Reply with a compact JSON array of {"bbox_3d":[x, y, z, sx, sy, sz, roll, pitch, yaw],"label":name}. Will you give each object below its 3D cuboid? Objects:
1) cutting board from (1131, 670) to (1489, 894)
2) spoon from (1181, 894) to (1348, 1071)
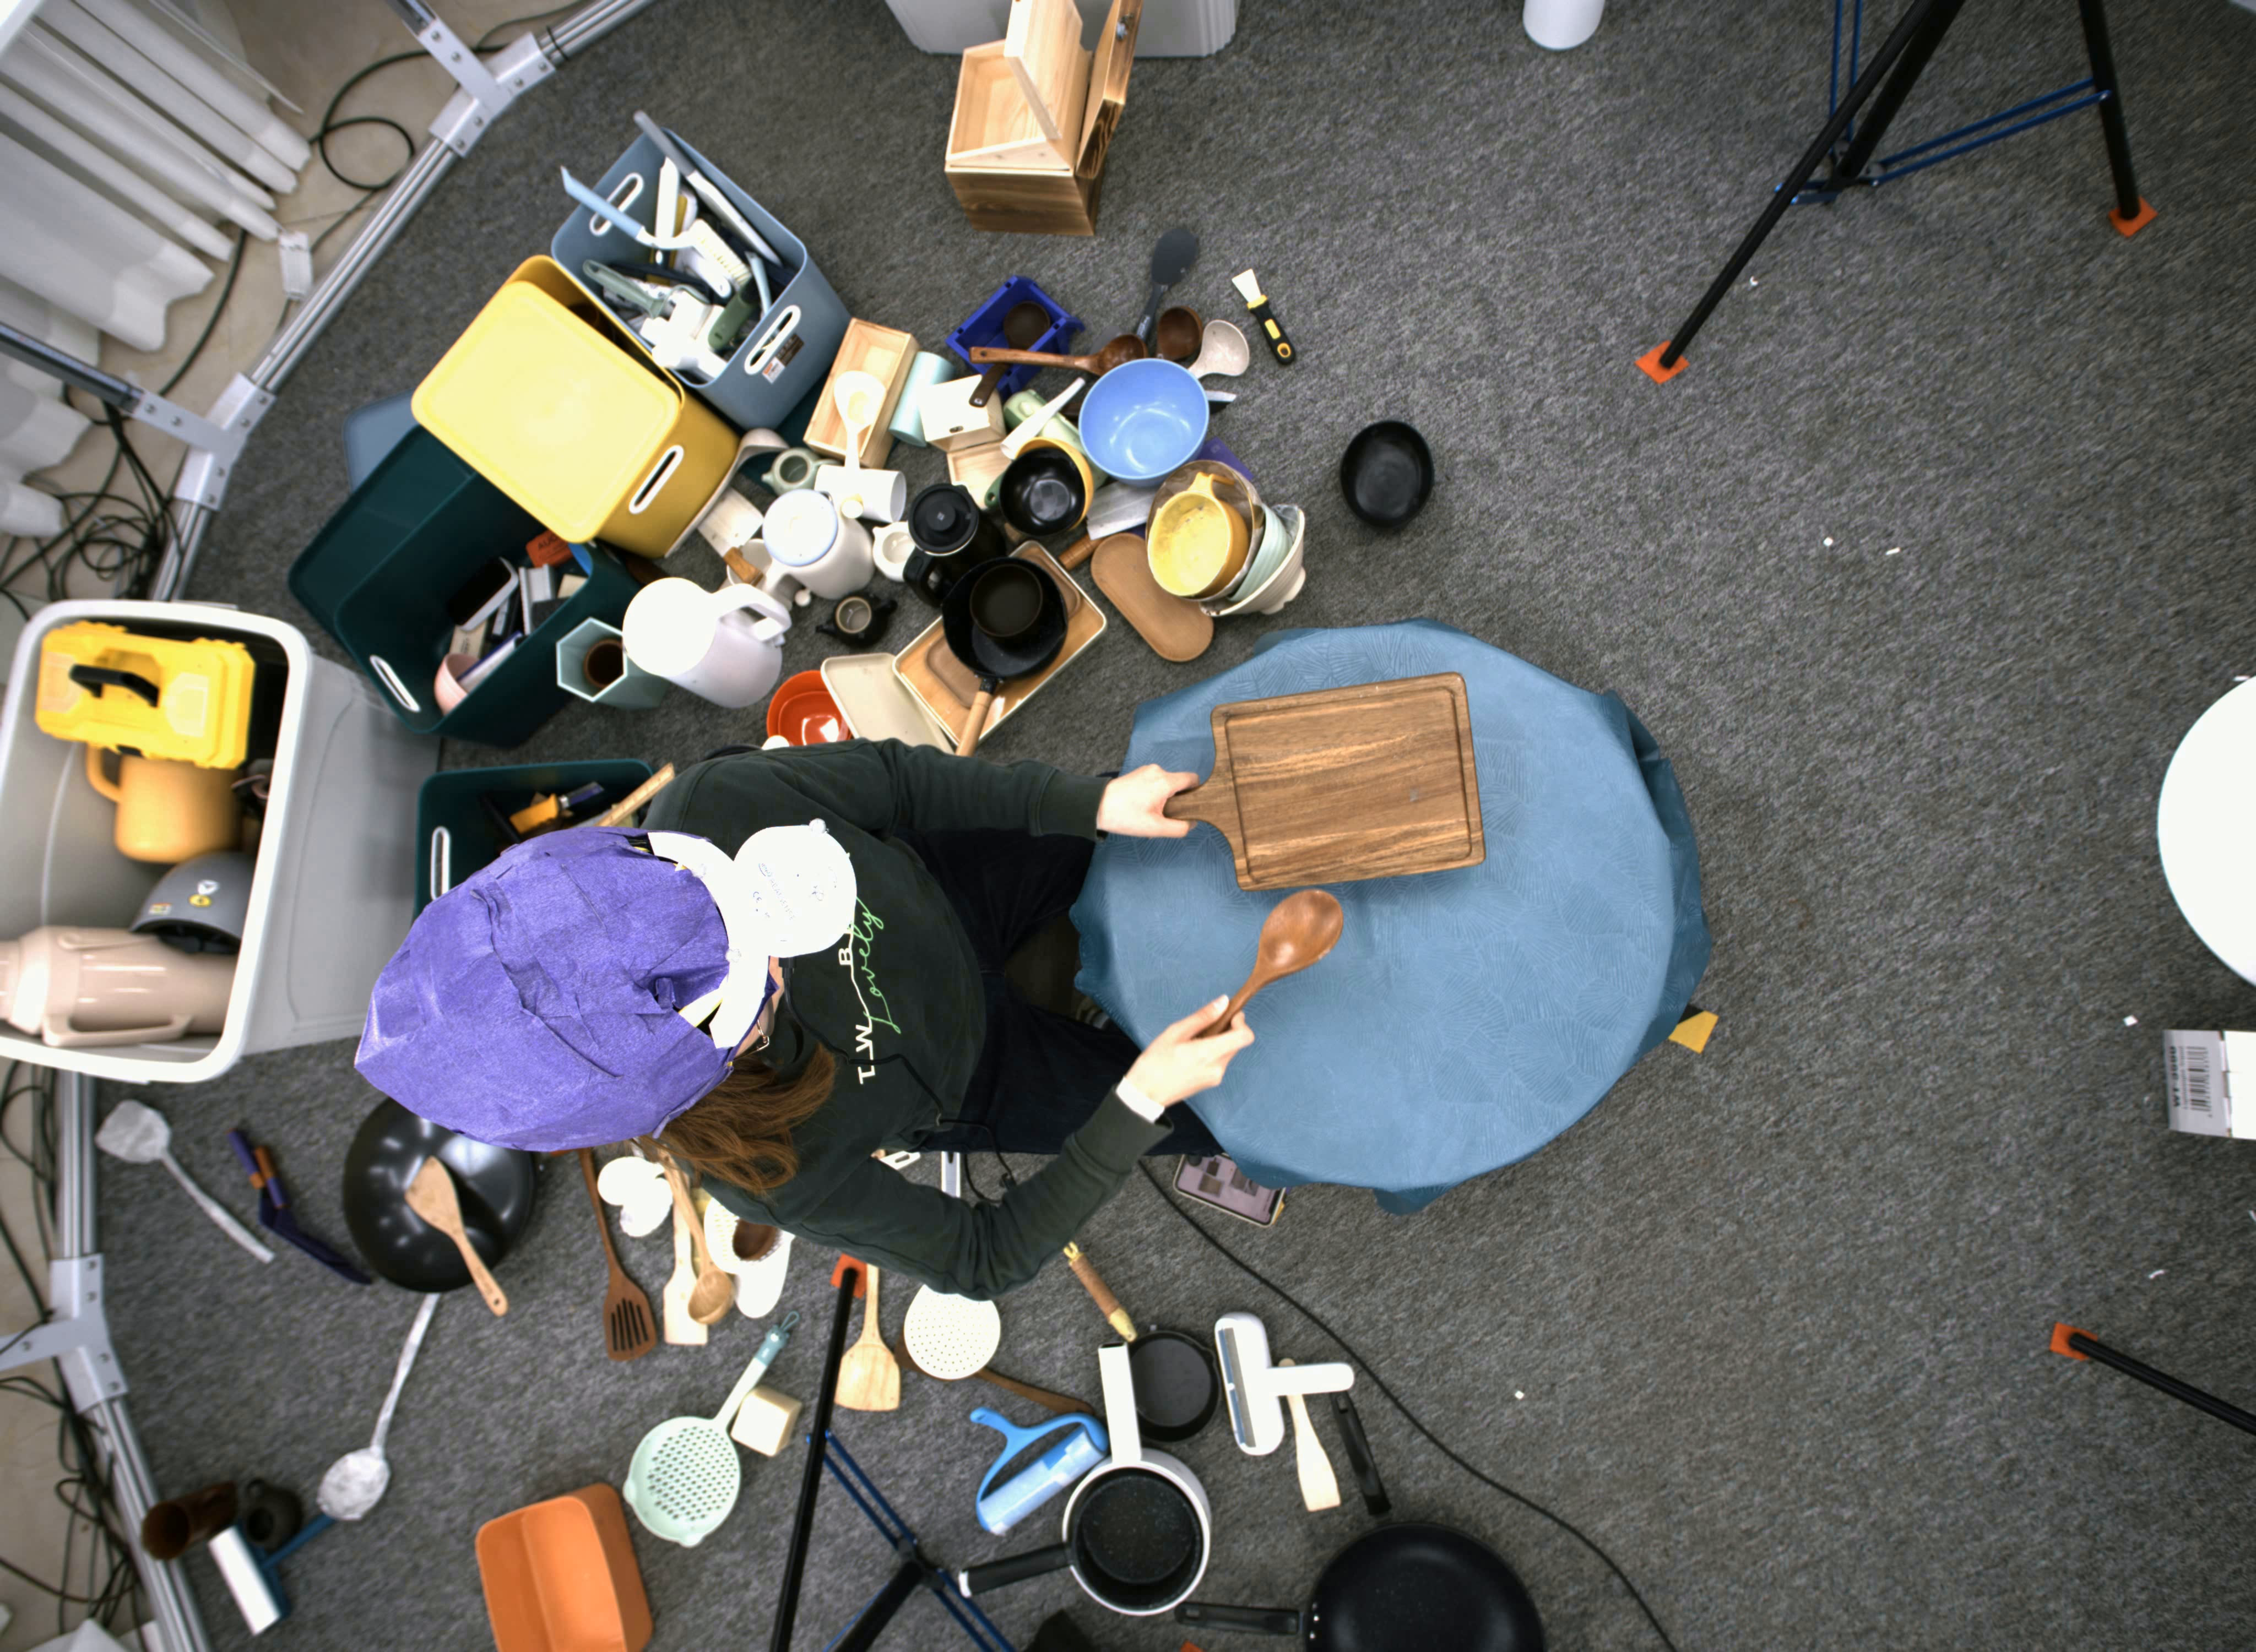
[{"bbox_3d":[0.174,-0.036,1.388,0.354,0.023,0.203,-7,108,13],"label":"cutting board"},{"bbox_3d":[0.127,0.150,1.324,0.214,0.017,0.075,-46,58,-8],"label":"spoon"}]
